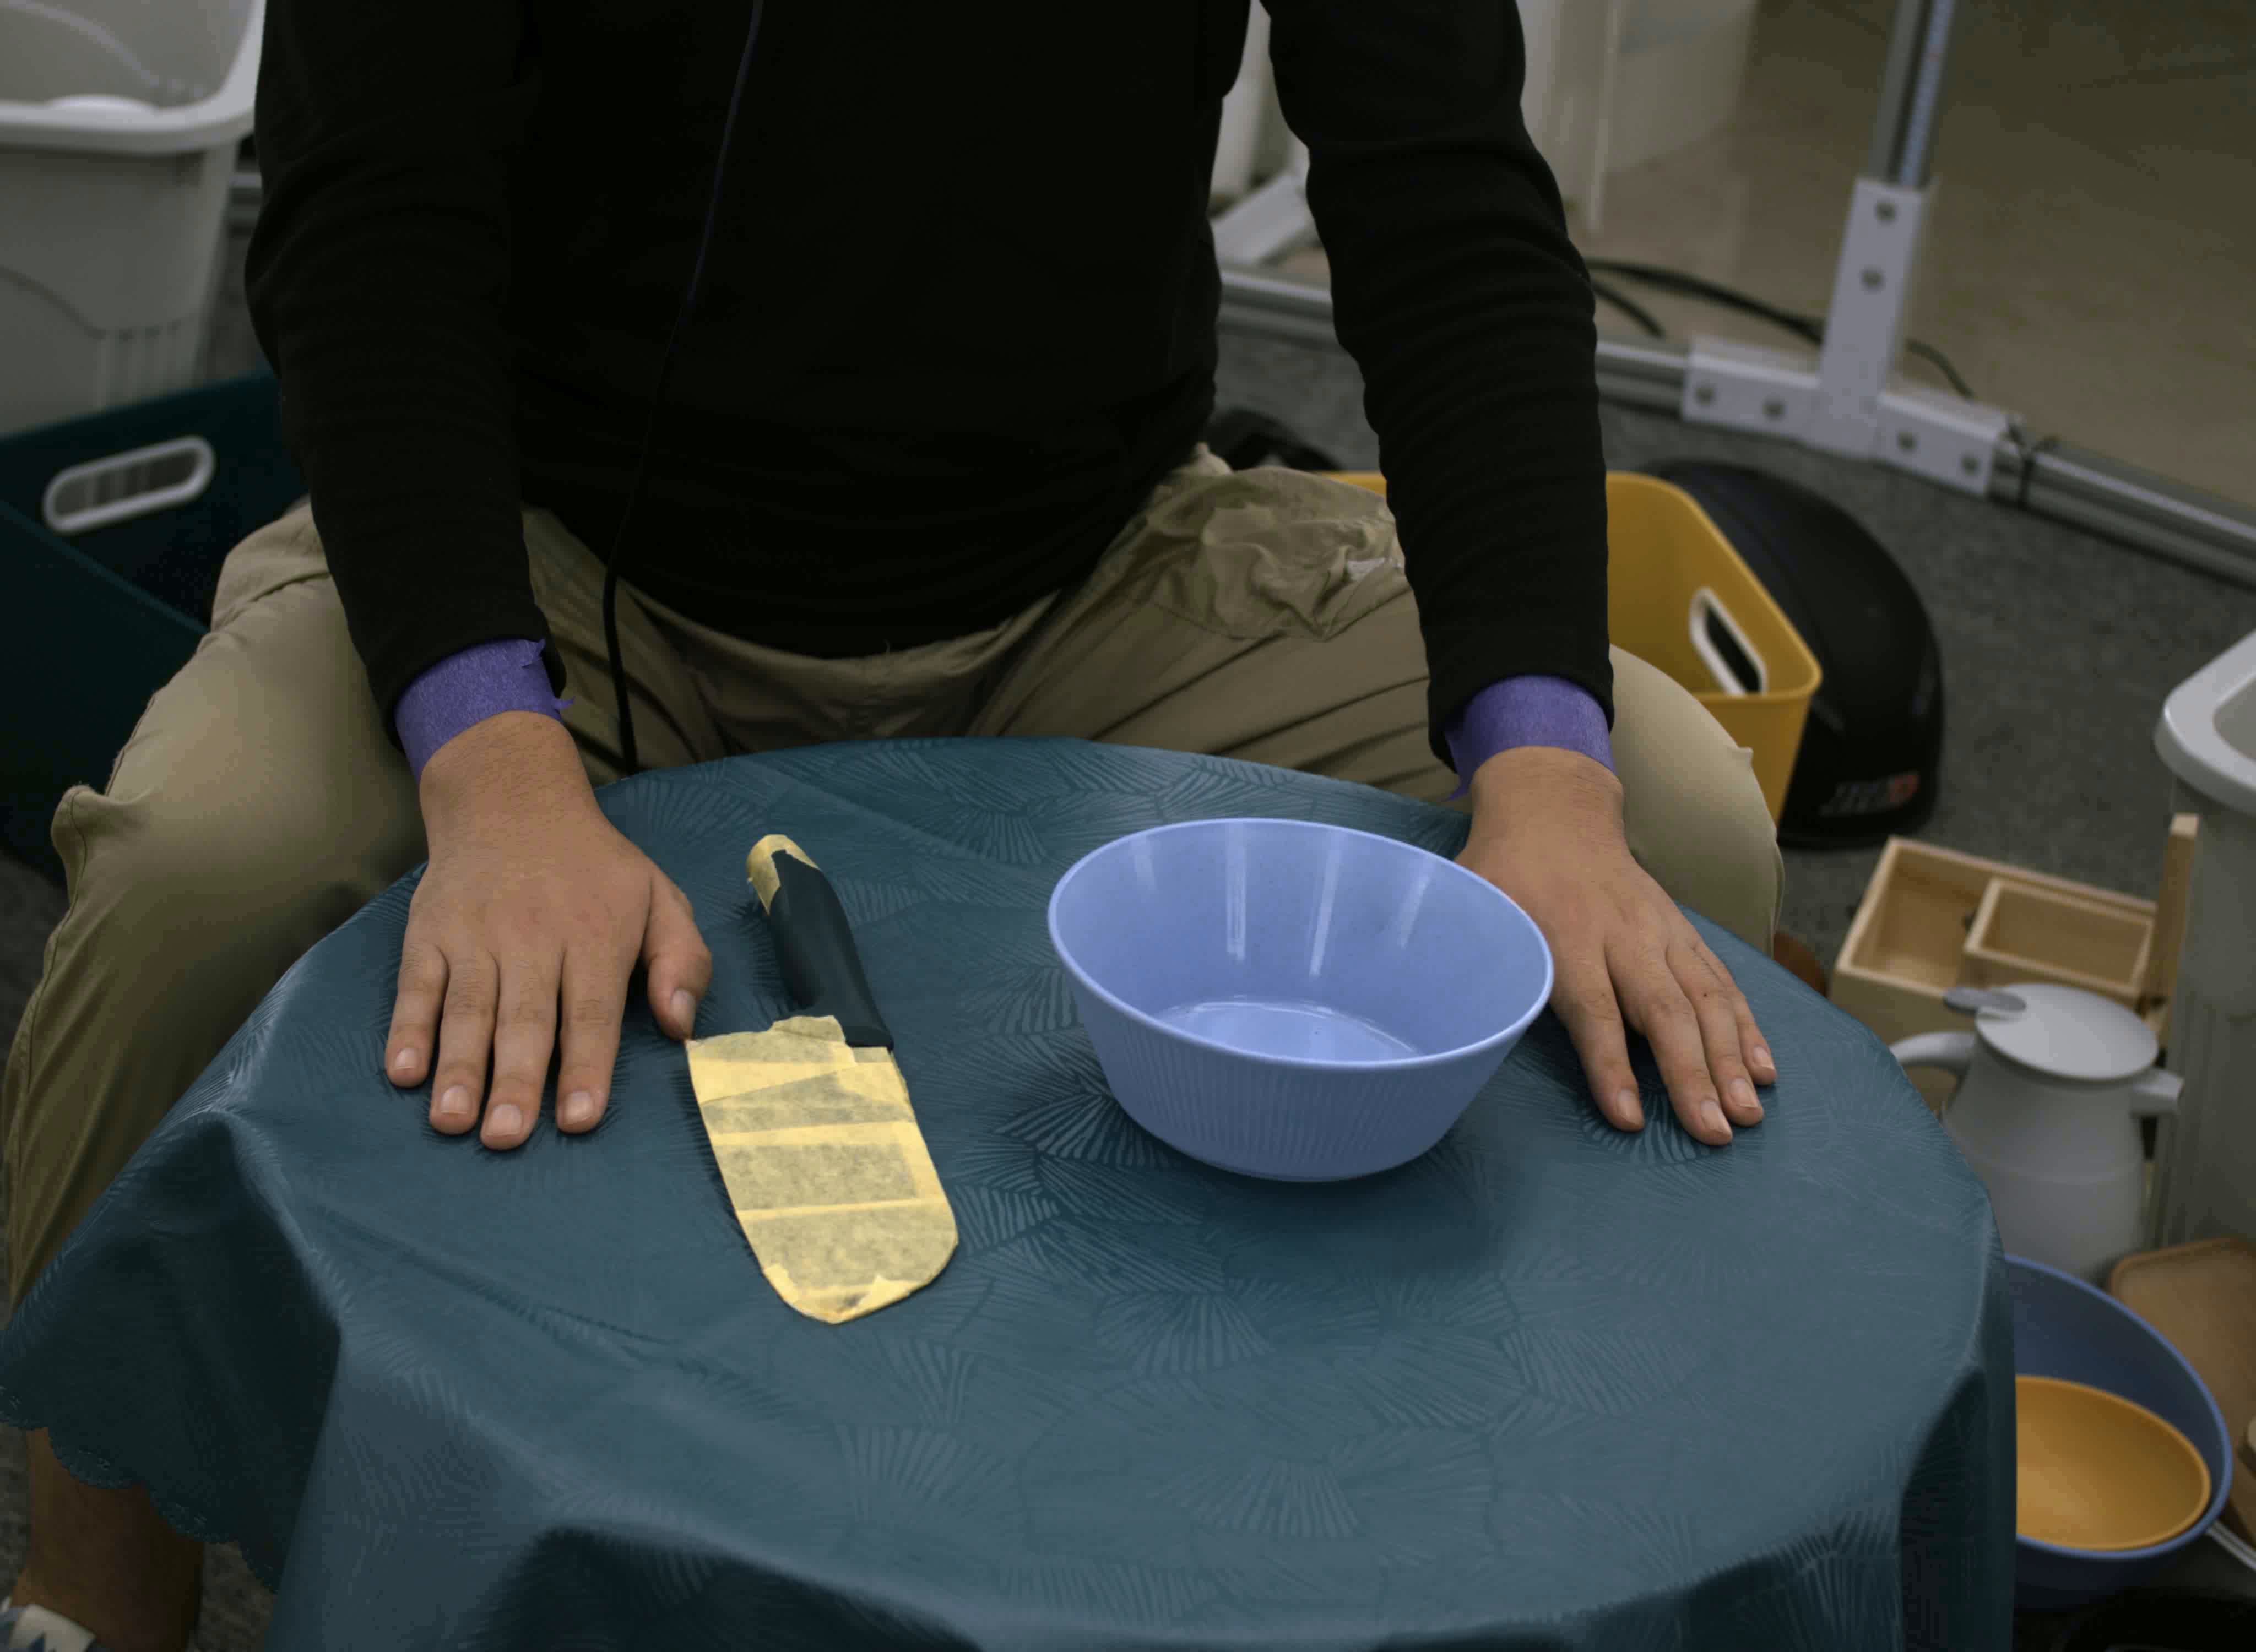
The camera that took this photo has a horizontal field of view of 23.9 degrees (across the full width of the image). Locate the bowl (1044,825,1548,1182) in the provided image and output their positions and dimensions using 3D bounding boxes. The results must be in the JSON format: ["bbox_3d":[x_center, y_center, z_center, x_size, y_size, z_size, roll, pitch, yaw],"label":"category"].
[{"bbox_3d":[0.055,0.067,1.853,0.175,0.070,0.177,5,27,-3],"label":"bowl"}]

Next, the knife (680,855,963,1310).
[{"bbox_3d":[-0.113,0.087,1.838,0.080,0.027,0.292,1,28,-13],"label":"knife"}]
